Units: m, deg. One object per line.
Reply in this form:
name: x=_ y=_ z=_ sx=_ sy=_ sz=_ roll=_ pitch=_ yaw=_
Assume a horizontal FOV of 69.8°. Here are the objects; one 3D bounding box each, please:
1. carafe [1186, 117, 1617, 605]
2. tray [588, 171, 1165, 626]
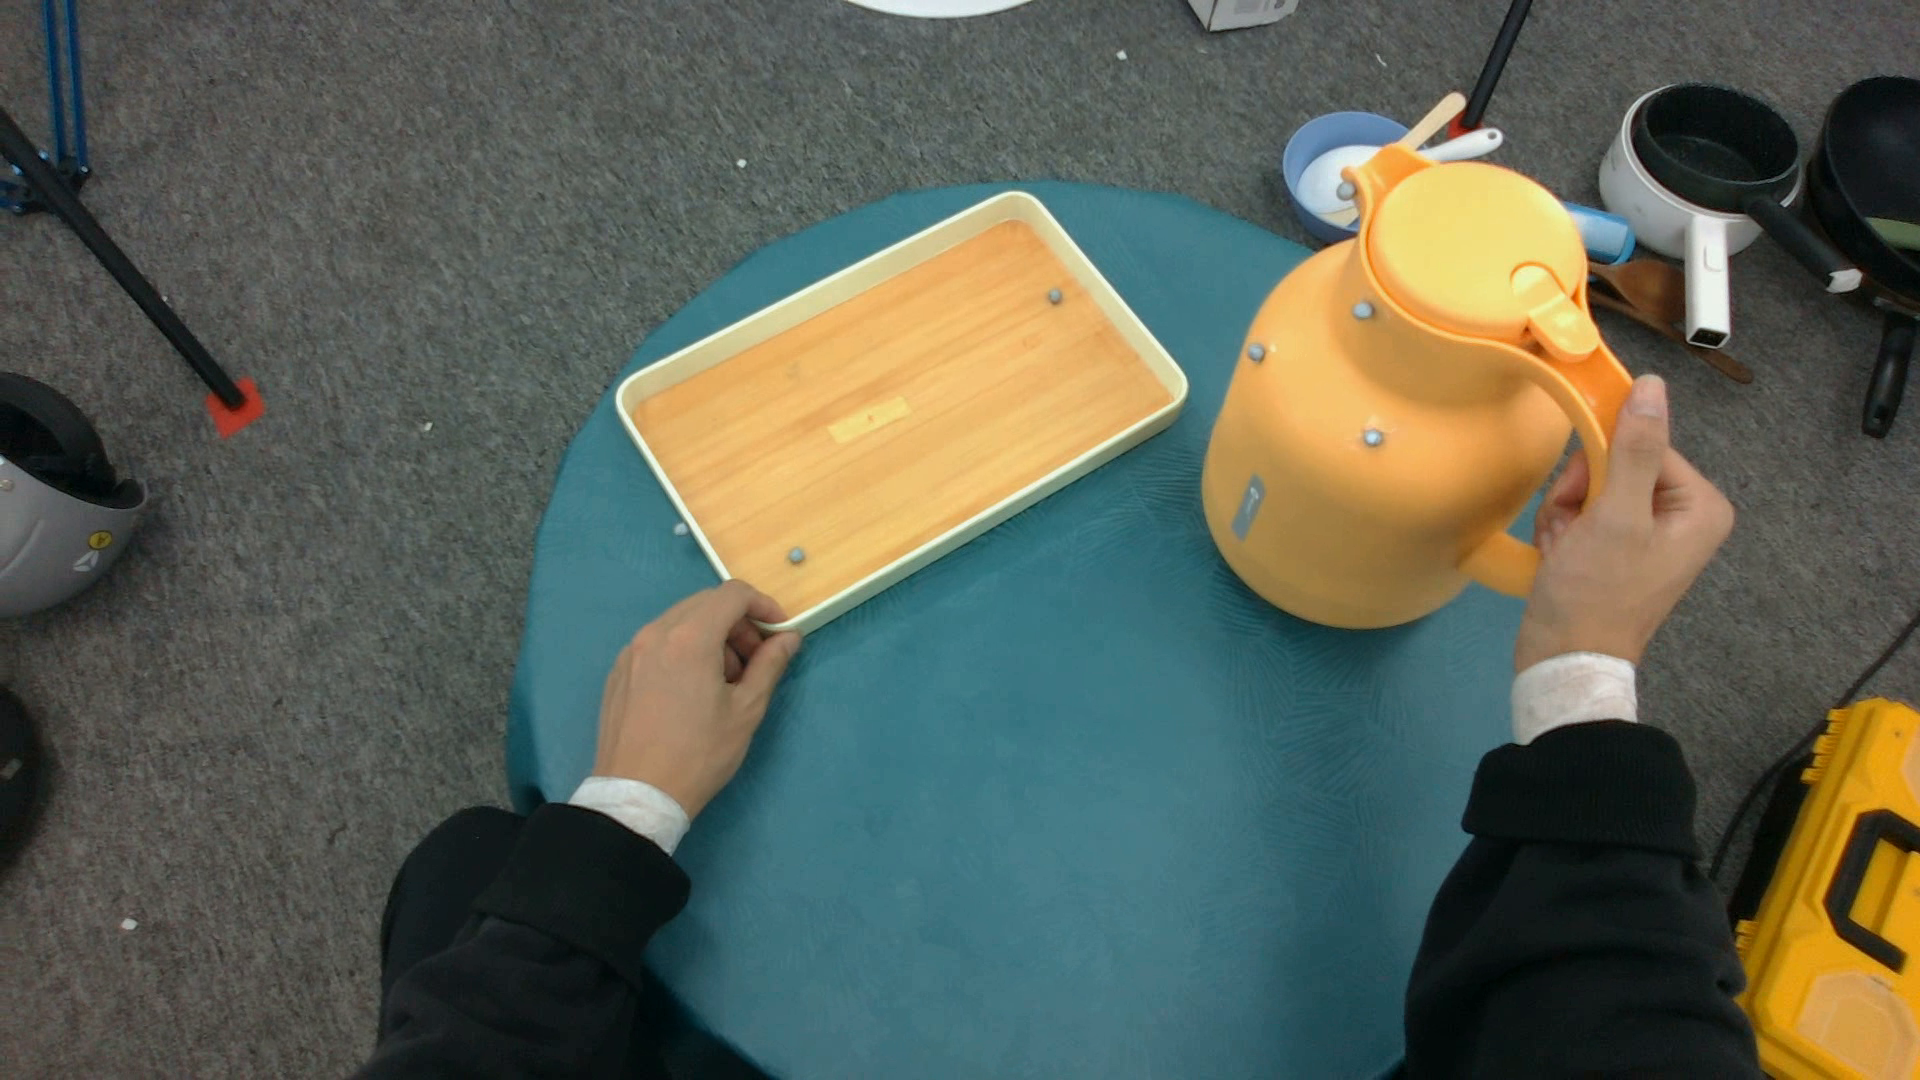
carafe: x=0.217 y=-0.069 z=0.689 sx=0.164 sy=0.259 sz=0.203 roll=-28 pitch=65 yaw=-12
tray: x=-0.047 y=-0.094 z=0.821 sx=0.301 sy=0.027 sz=0.192 roll=-30 pitch=69 yaw=-16
